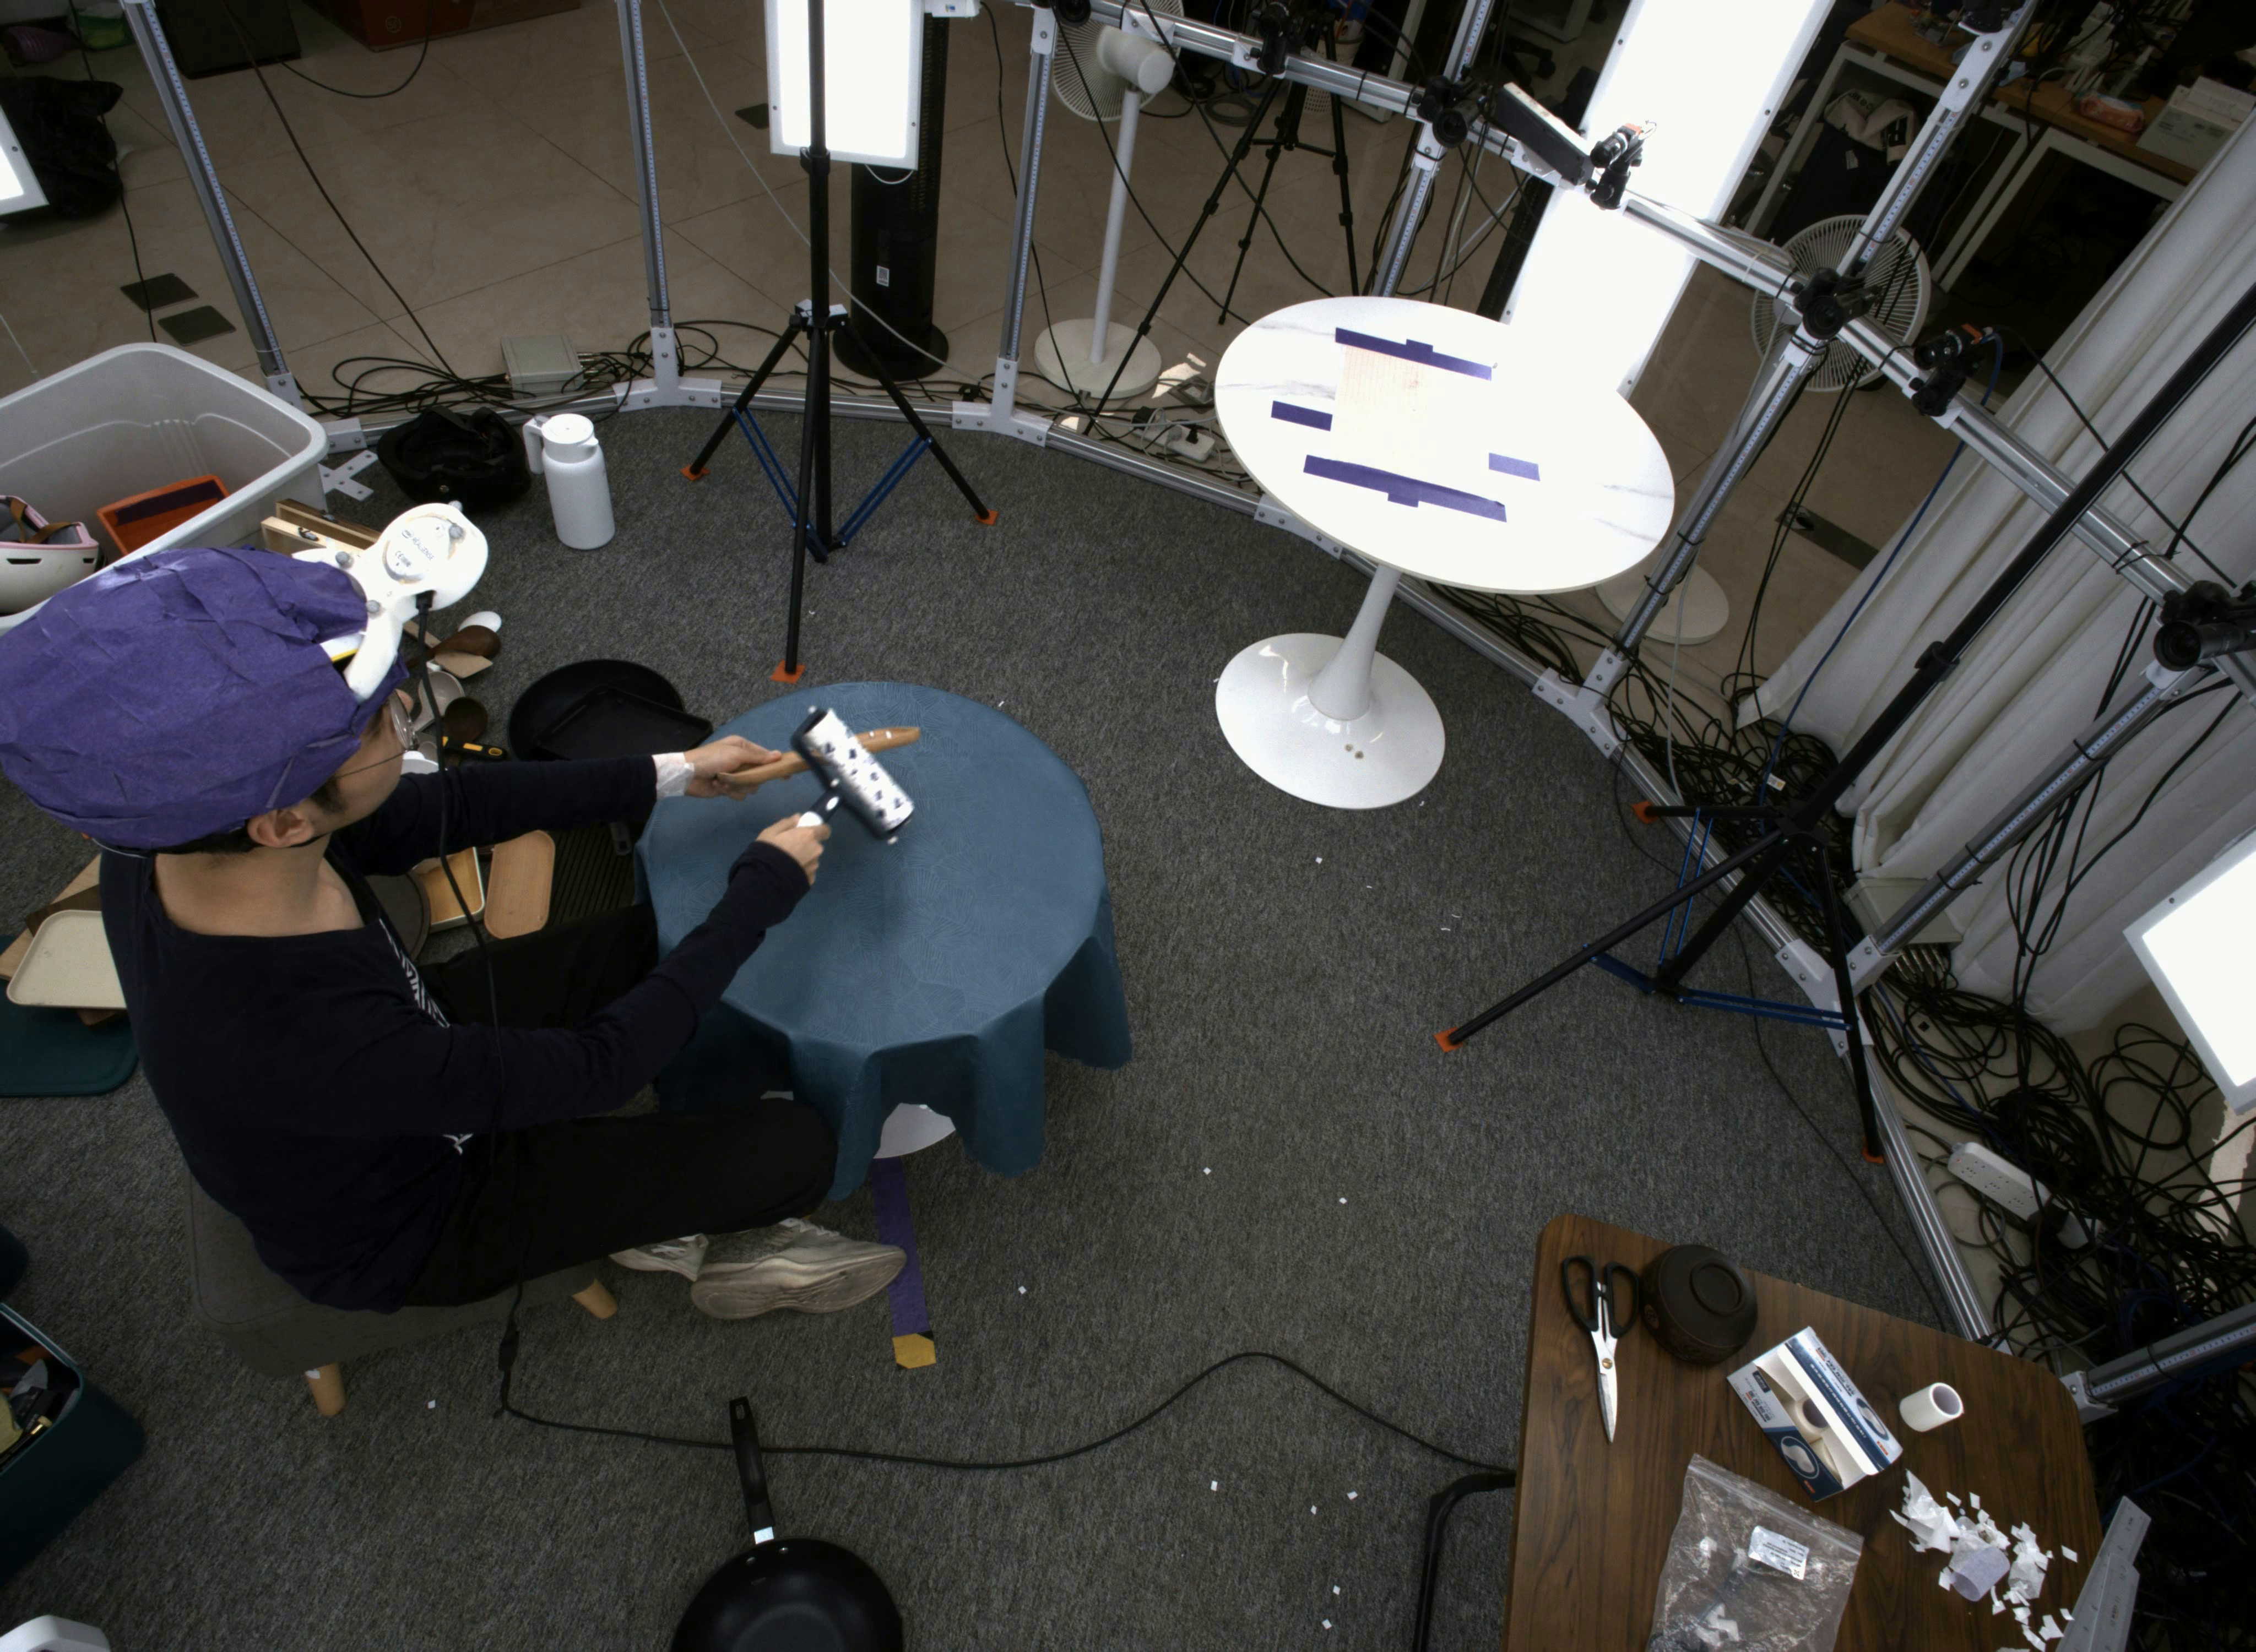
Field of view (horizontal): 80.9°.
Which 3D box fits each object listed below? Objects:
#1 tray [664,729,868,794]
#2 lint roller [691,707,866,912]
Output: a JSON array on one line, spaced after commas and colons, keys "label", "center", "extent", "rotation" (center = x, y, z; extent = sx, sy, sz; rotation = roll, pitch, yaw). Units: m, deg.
[{"label": "tray", "center": [-0.455, -0.083, 1.631], "extent": [0.252, 0.127, 0.023], "rotation": [-21, 101, -31]}, {"label": "lint roller", "center": [-0.428, 0.002, 1.518], "extent": [0.182, 0.049, 0.245], "rotation": [50, 50, -27]}]
